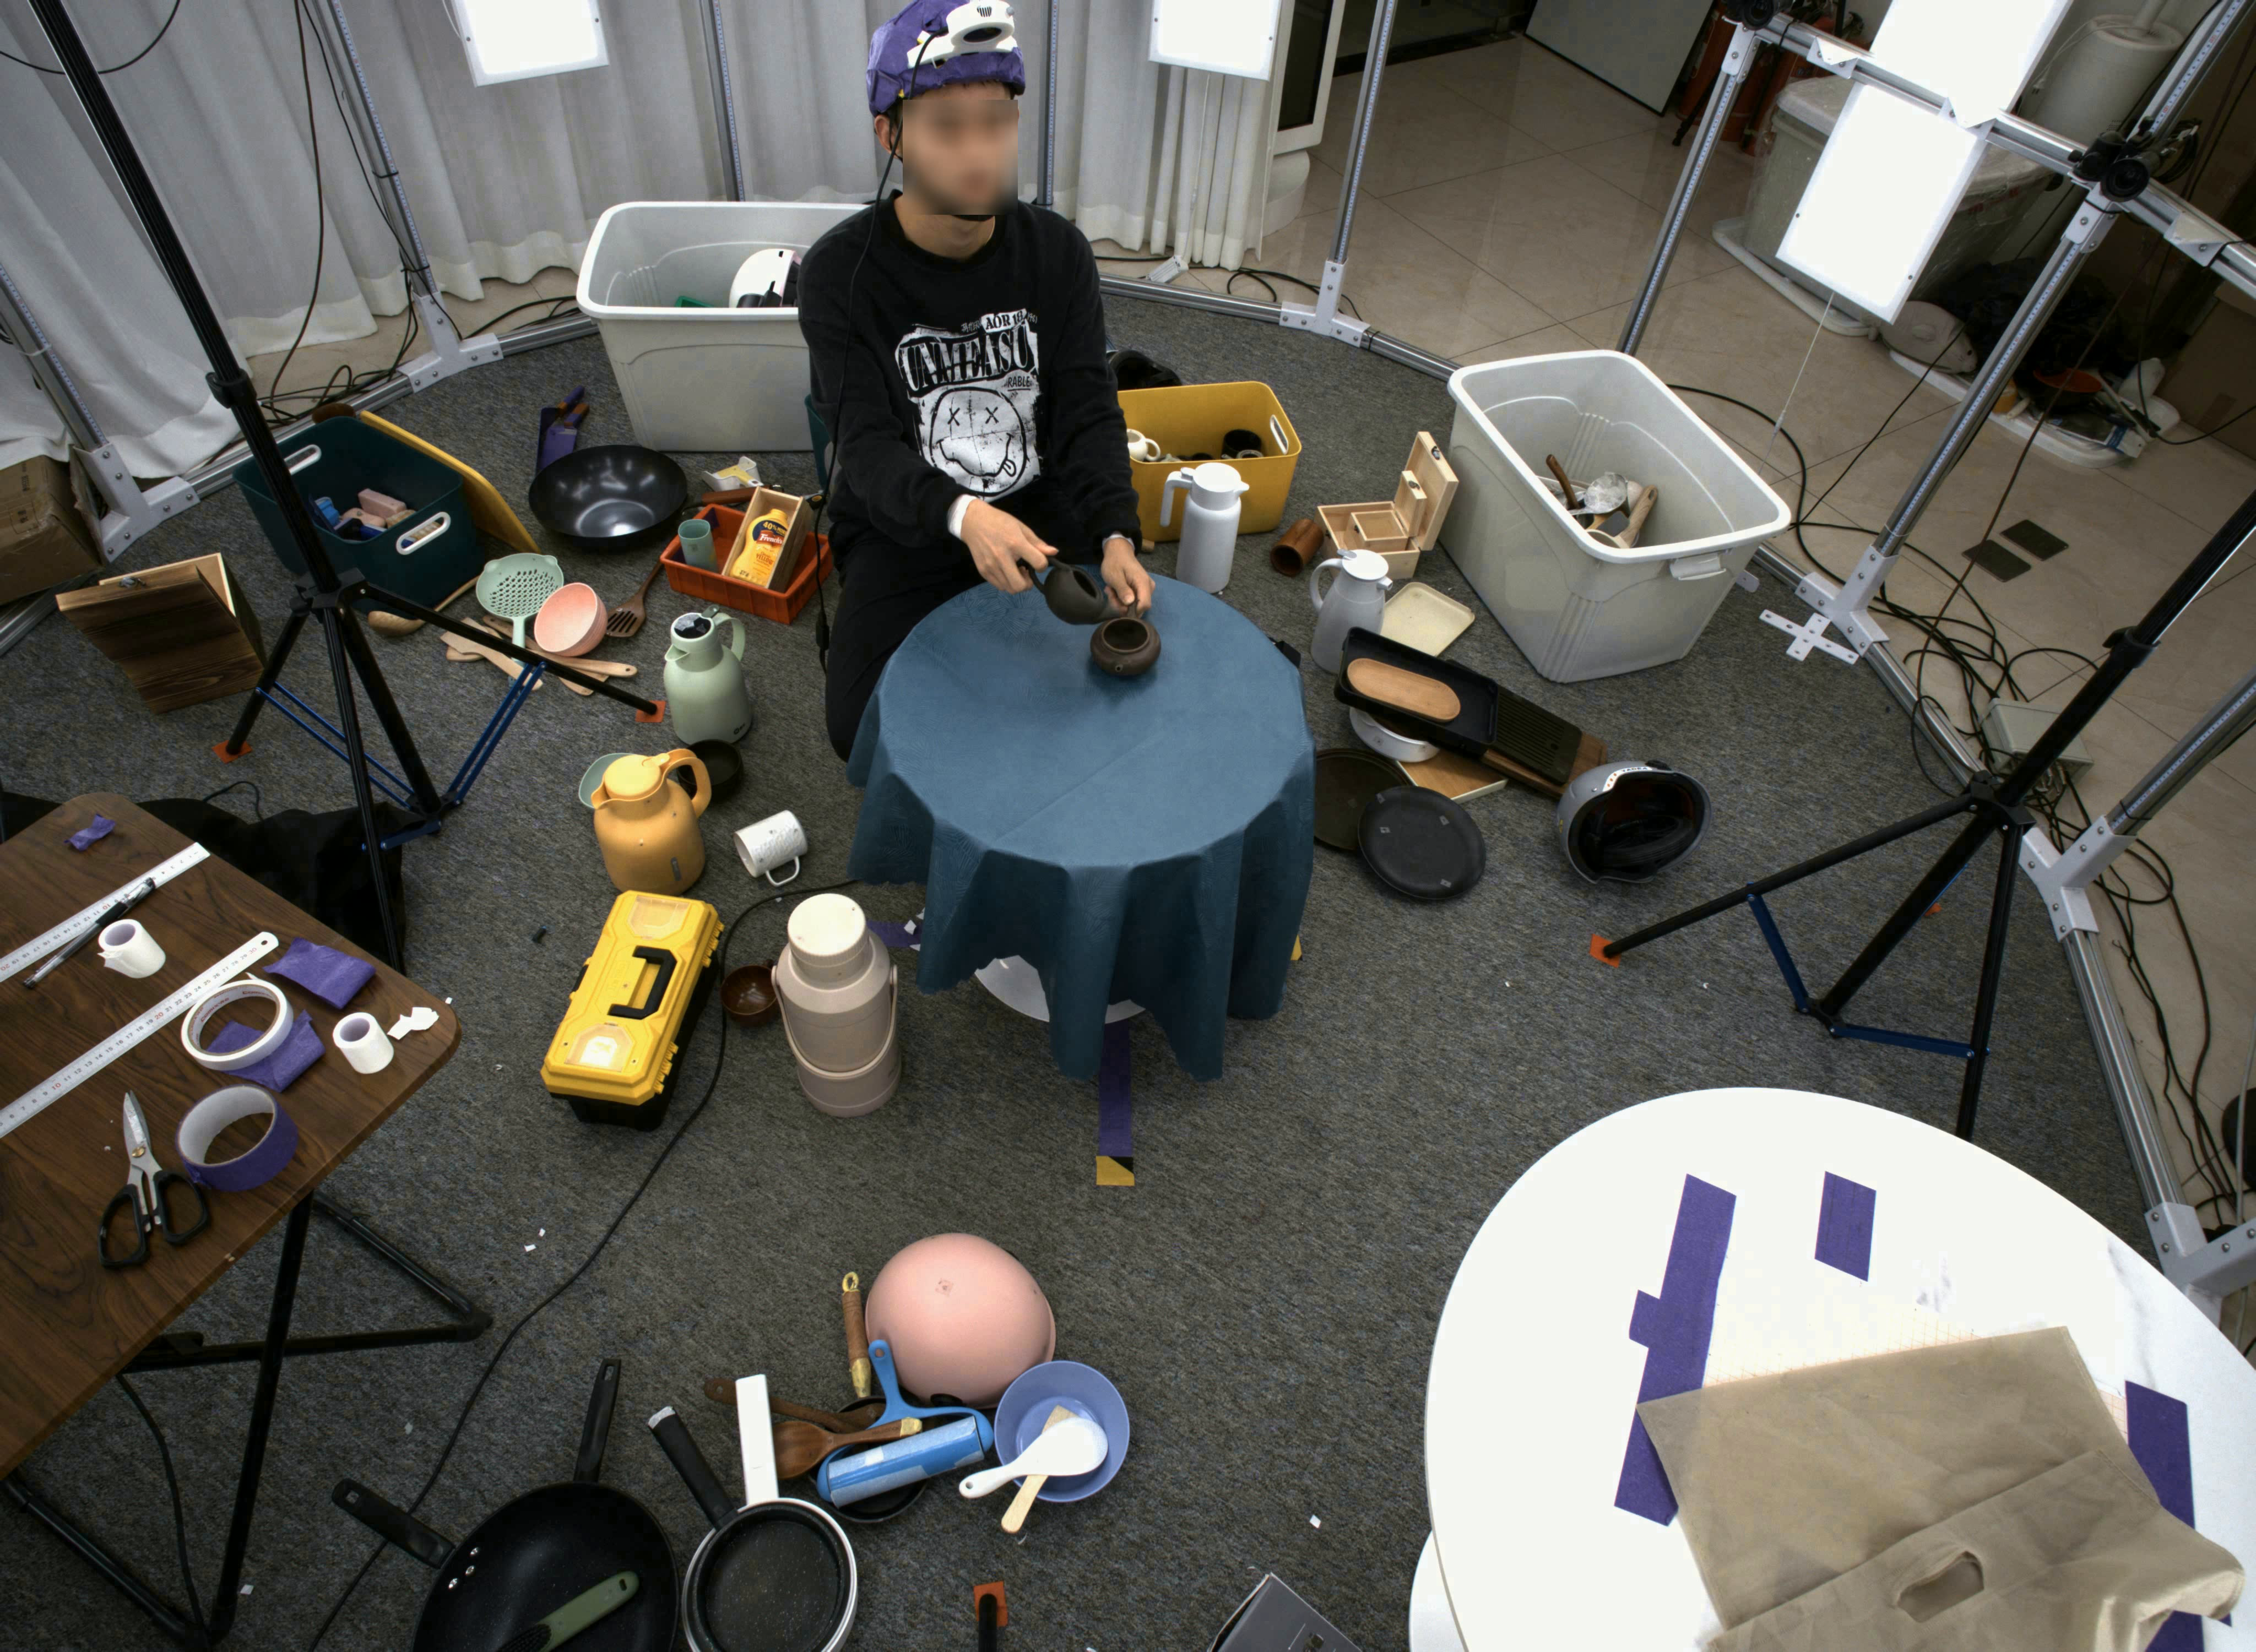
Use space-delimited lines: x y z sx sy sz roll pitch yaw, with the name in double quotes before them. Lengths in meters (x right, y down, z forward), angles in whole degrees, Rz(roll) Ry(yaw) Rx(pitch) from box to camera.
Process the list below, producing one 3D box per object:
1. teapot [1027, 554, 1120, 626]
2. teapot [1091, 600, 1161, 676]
"teapot" -0.078 -0.321 1.778 0.152 0.064 0.094 36 29 -28
"teapot" -0.002 -0.266 1.862 0.102 0.052 0.157 3 52 1
